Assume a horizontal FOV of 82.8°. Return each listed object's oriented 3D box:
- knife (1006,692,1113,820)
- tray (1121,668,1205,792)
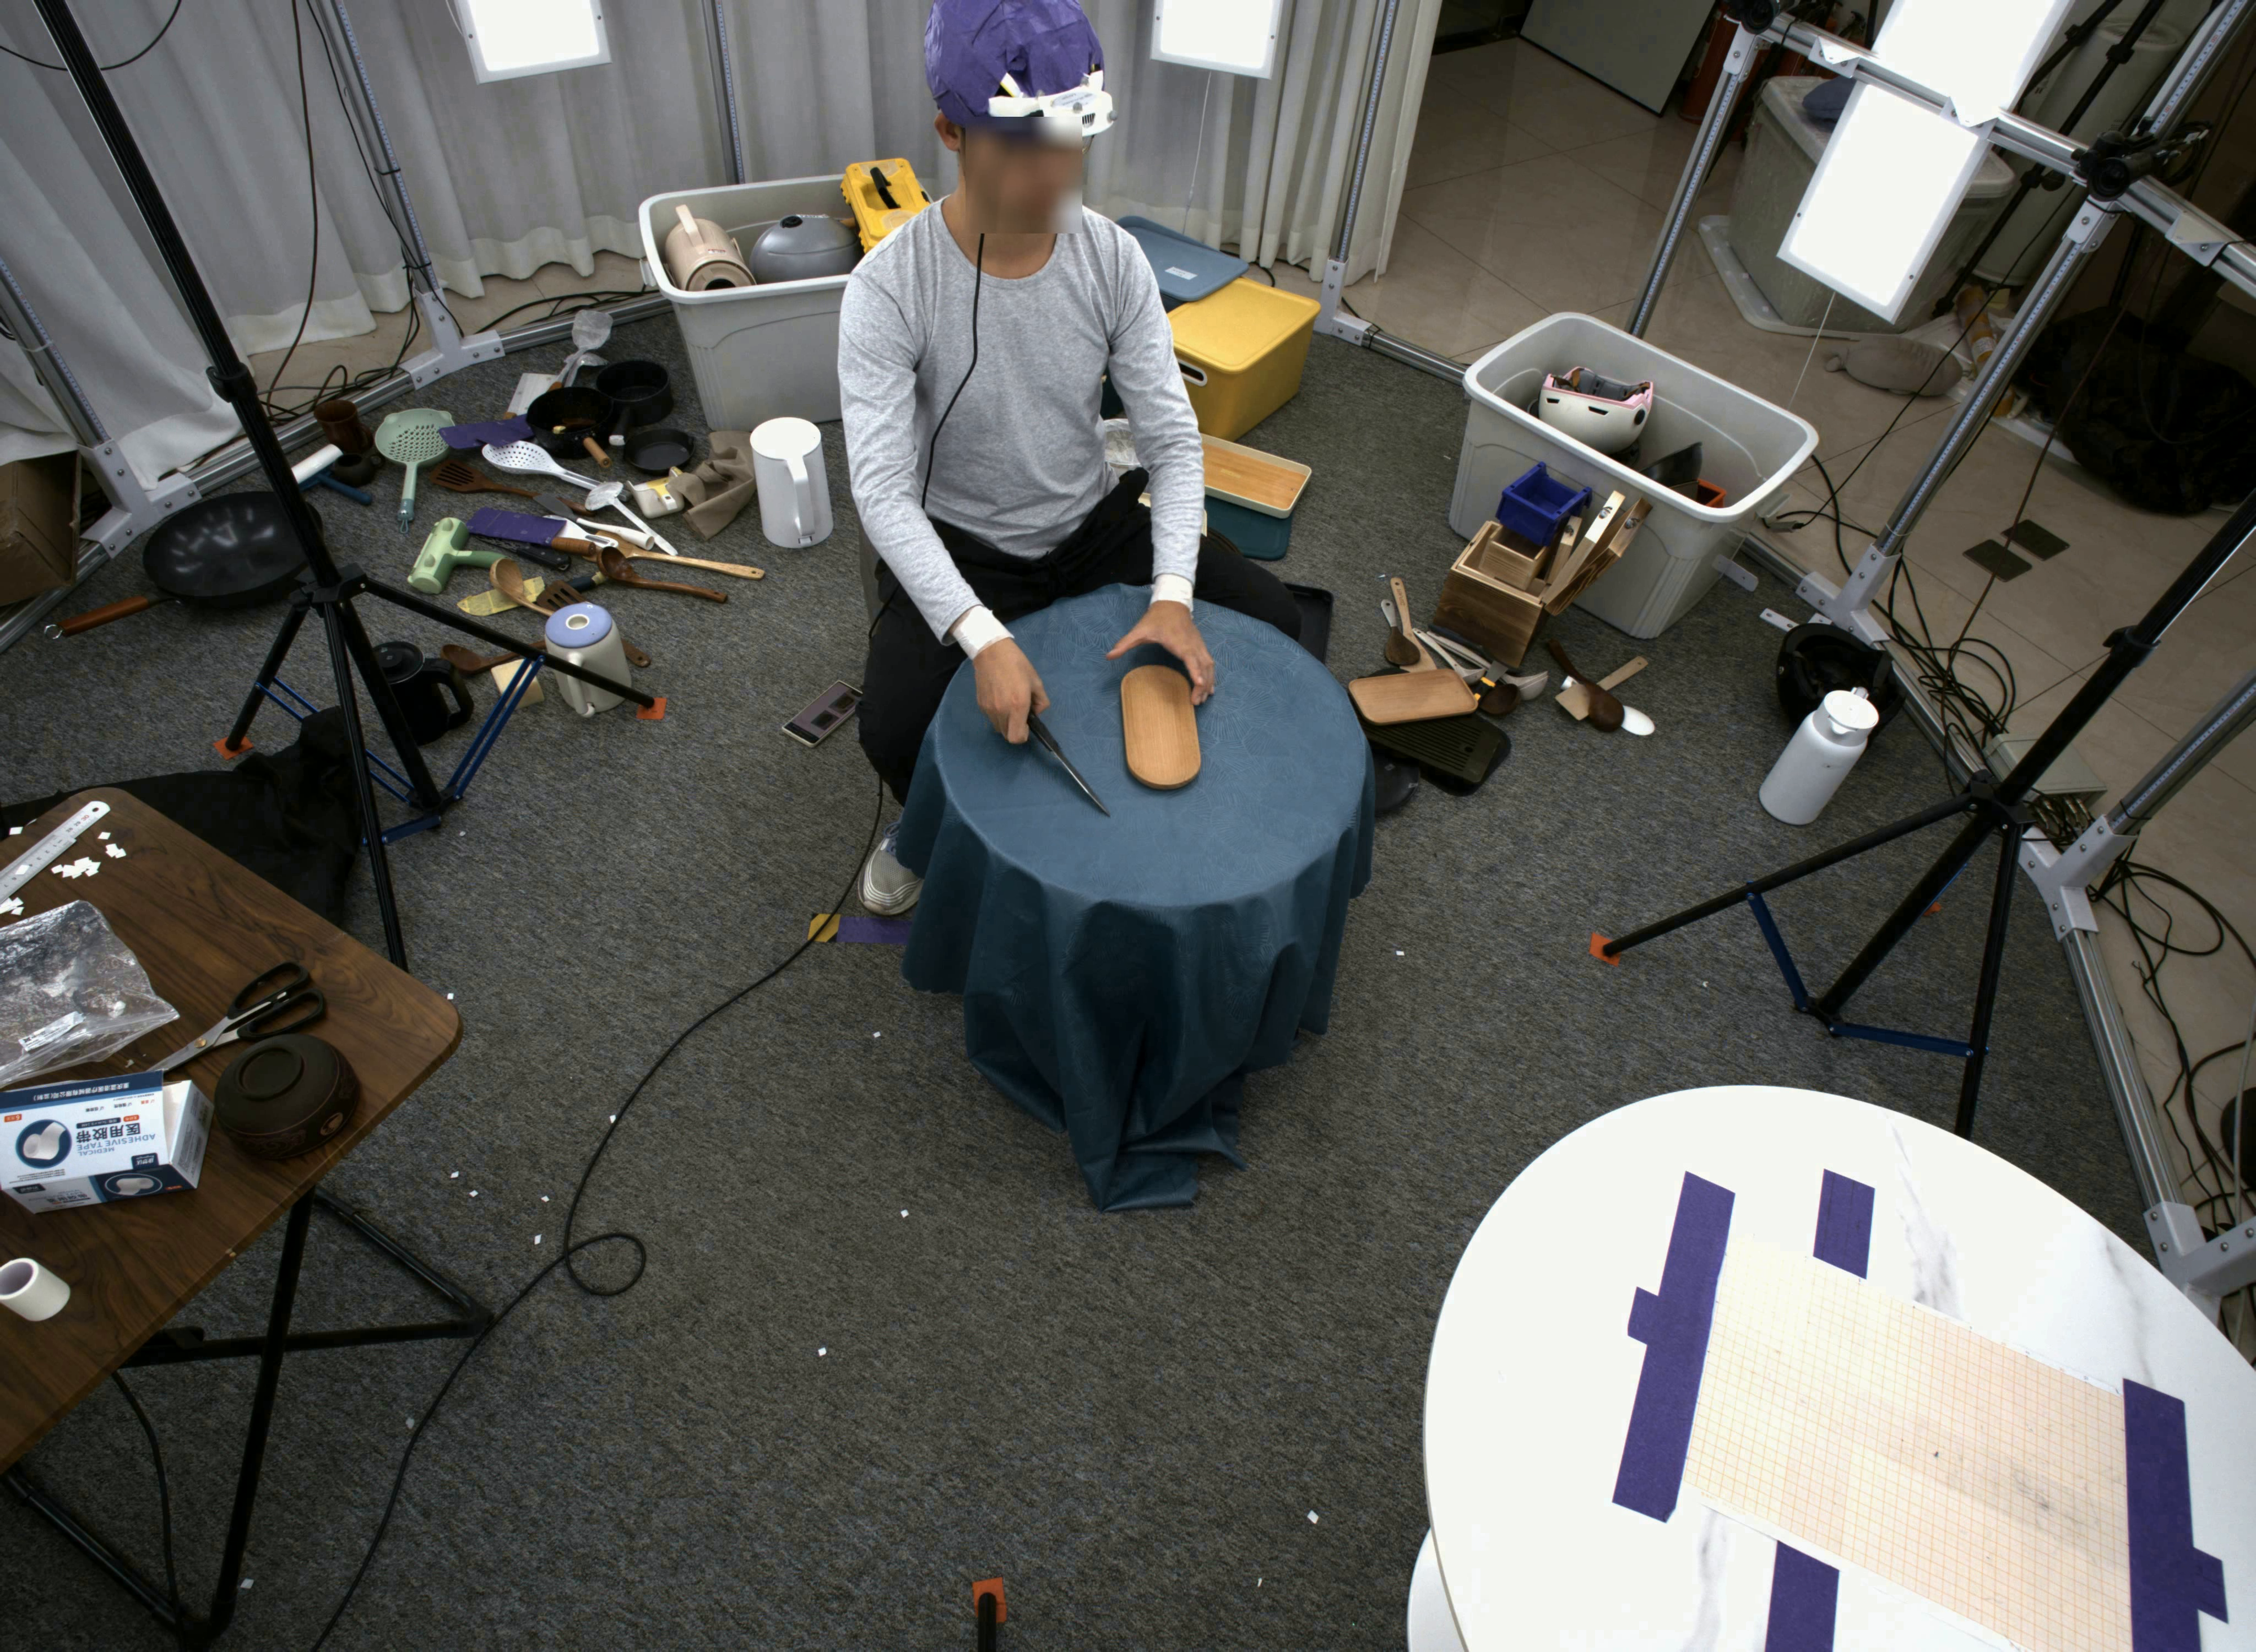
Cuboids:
[{"bbox_3d":[-0.093,-0.095,1.717,0.241,0.016,0.024,51,22,21],"label":"knife"},{"bbox_3d":[0.047,-0.136,1.779,0.101,0.020,0.237,-2,50,-5],"label":"tray"}]
